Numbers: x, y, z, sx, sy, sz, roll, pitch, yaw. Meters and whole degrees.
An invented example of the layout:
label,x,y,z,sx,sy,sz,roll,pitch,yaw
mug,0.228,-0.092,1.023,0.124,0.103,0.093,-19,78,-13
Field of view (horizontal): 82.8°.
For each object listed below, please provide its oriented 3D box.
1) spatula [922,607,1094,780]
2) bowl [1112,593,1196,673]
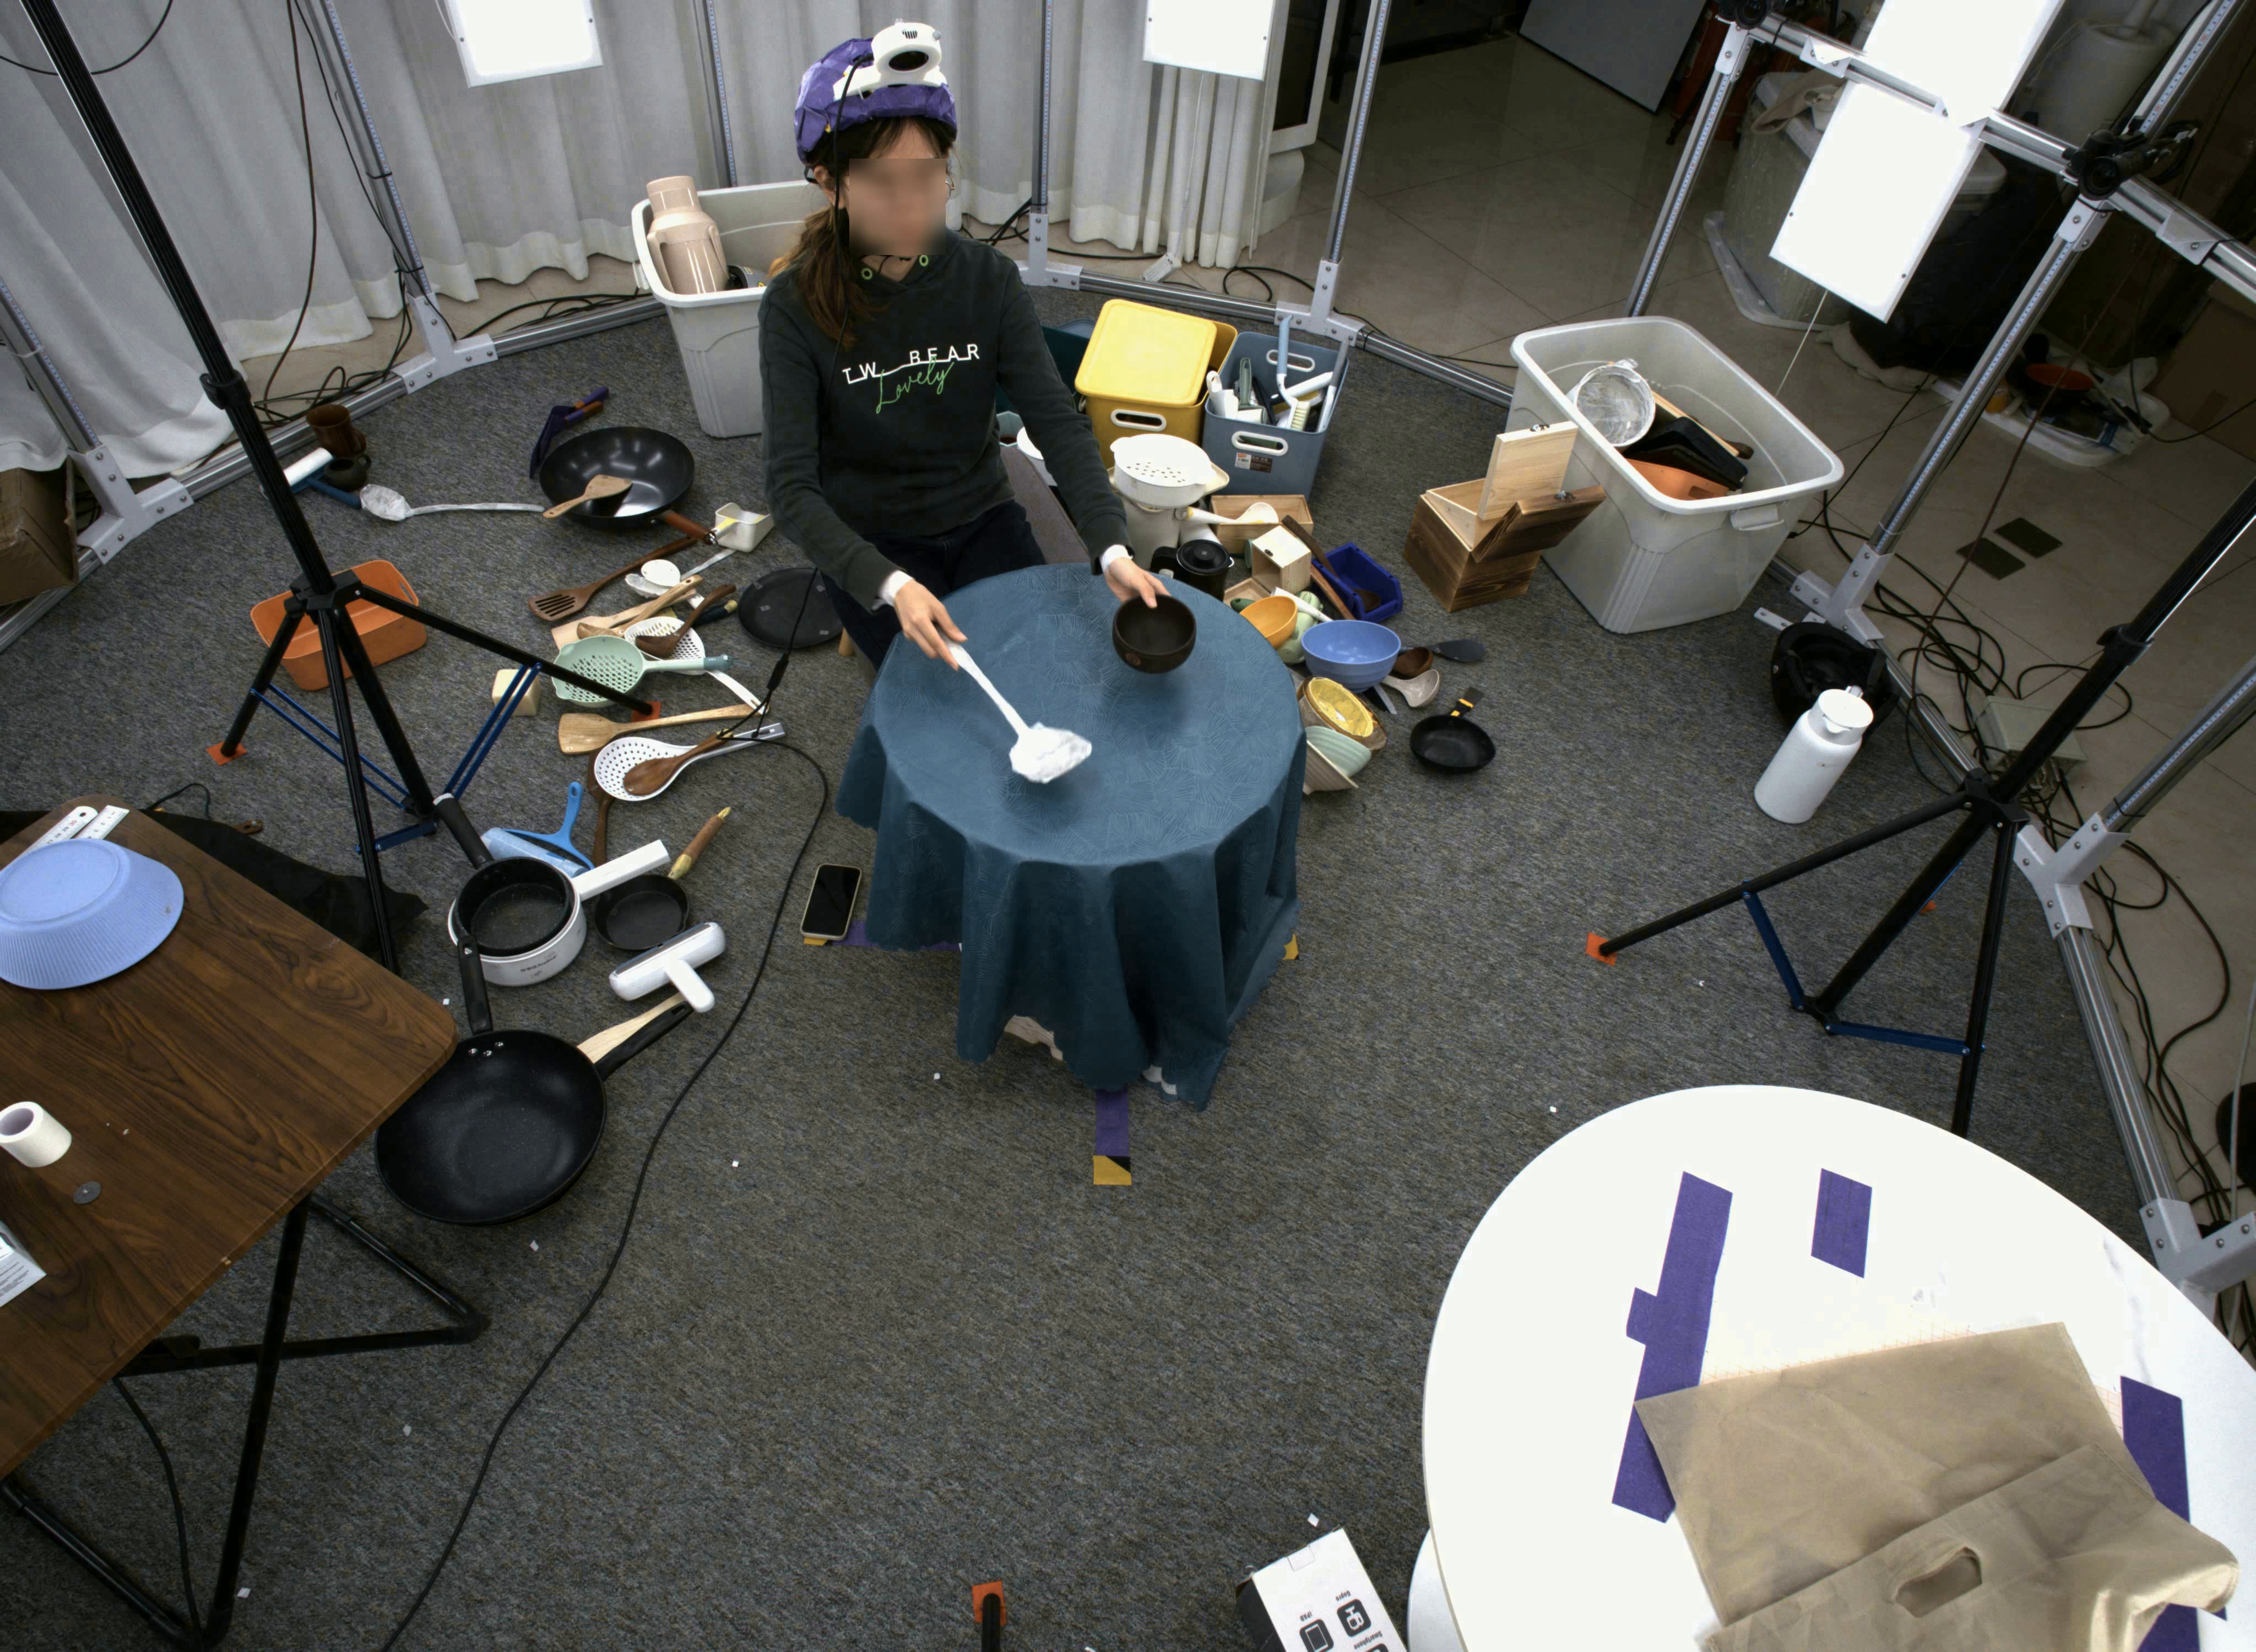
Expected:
label,x,y,z,sx,sy,sz,roll,pitch,yaw
spatula,-0.183,-0.192,1.746,0.099,0.044,0.371,-32,64,-19
bowl,0.036,-0.264,1.816,0.118,0.068,0.121,2,54,-2
